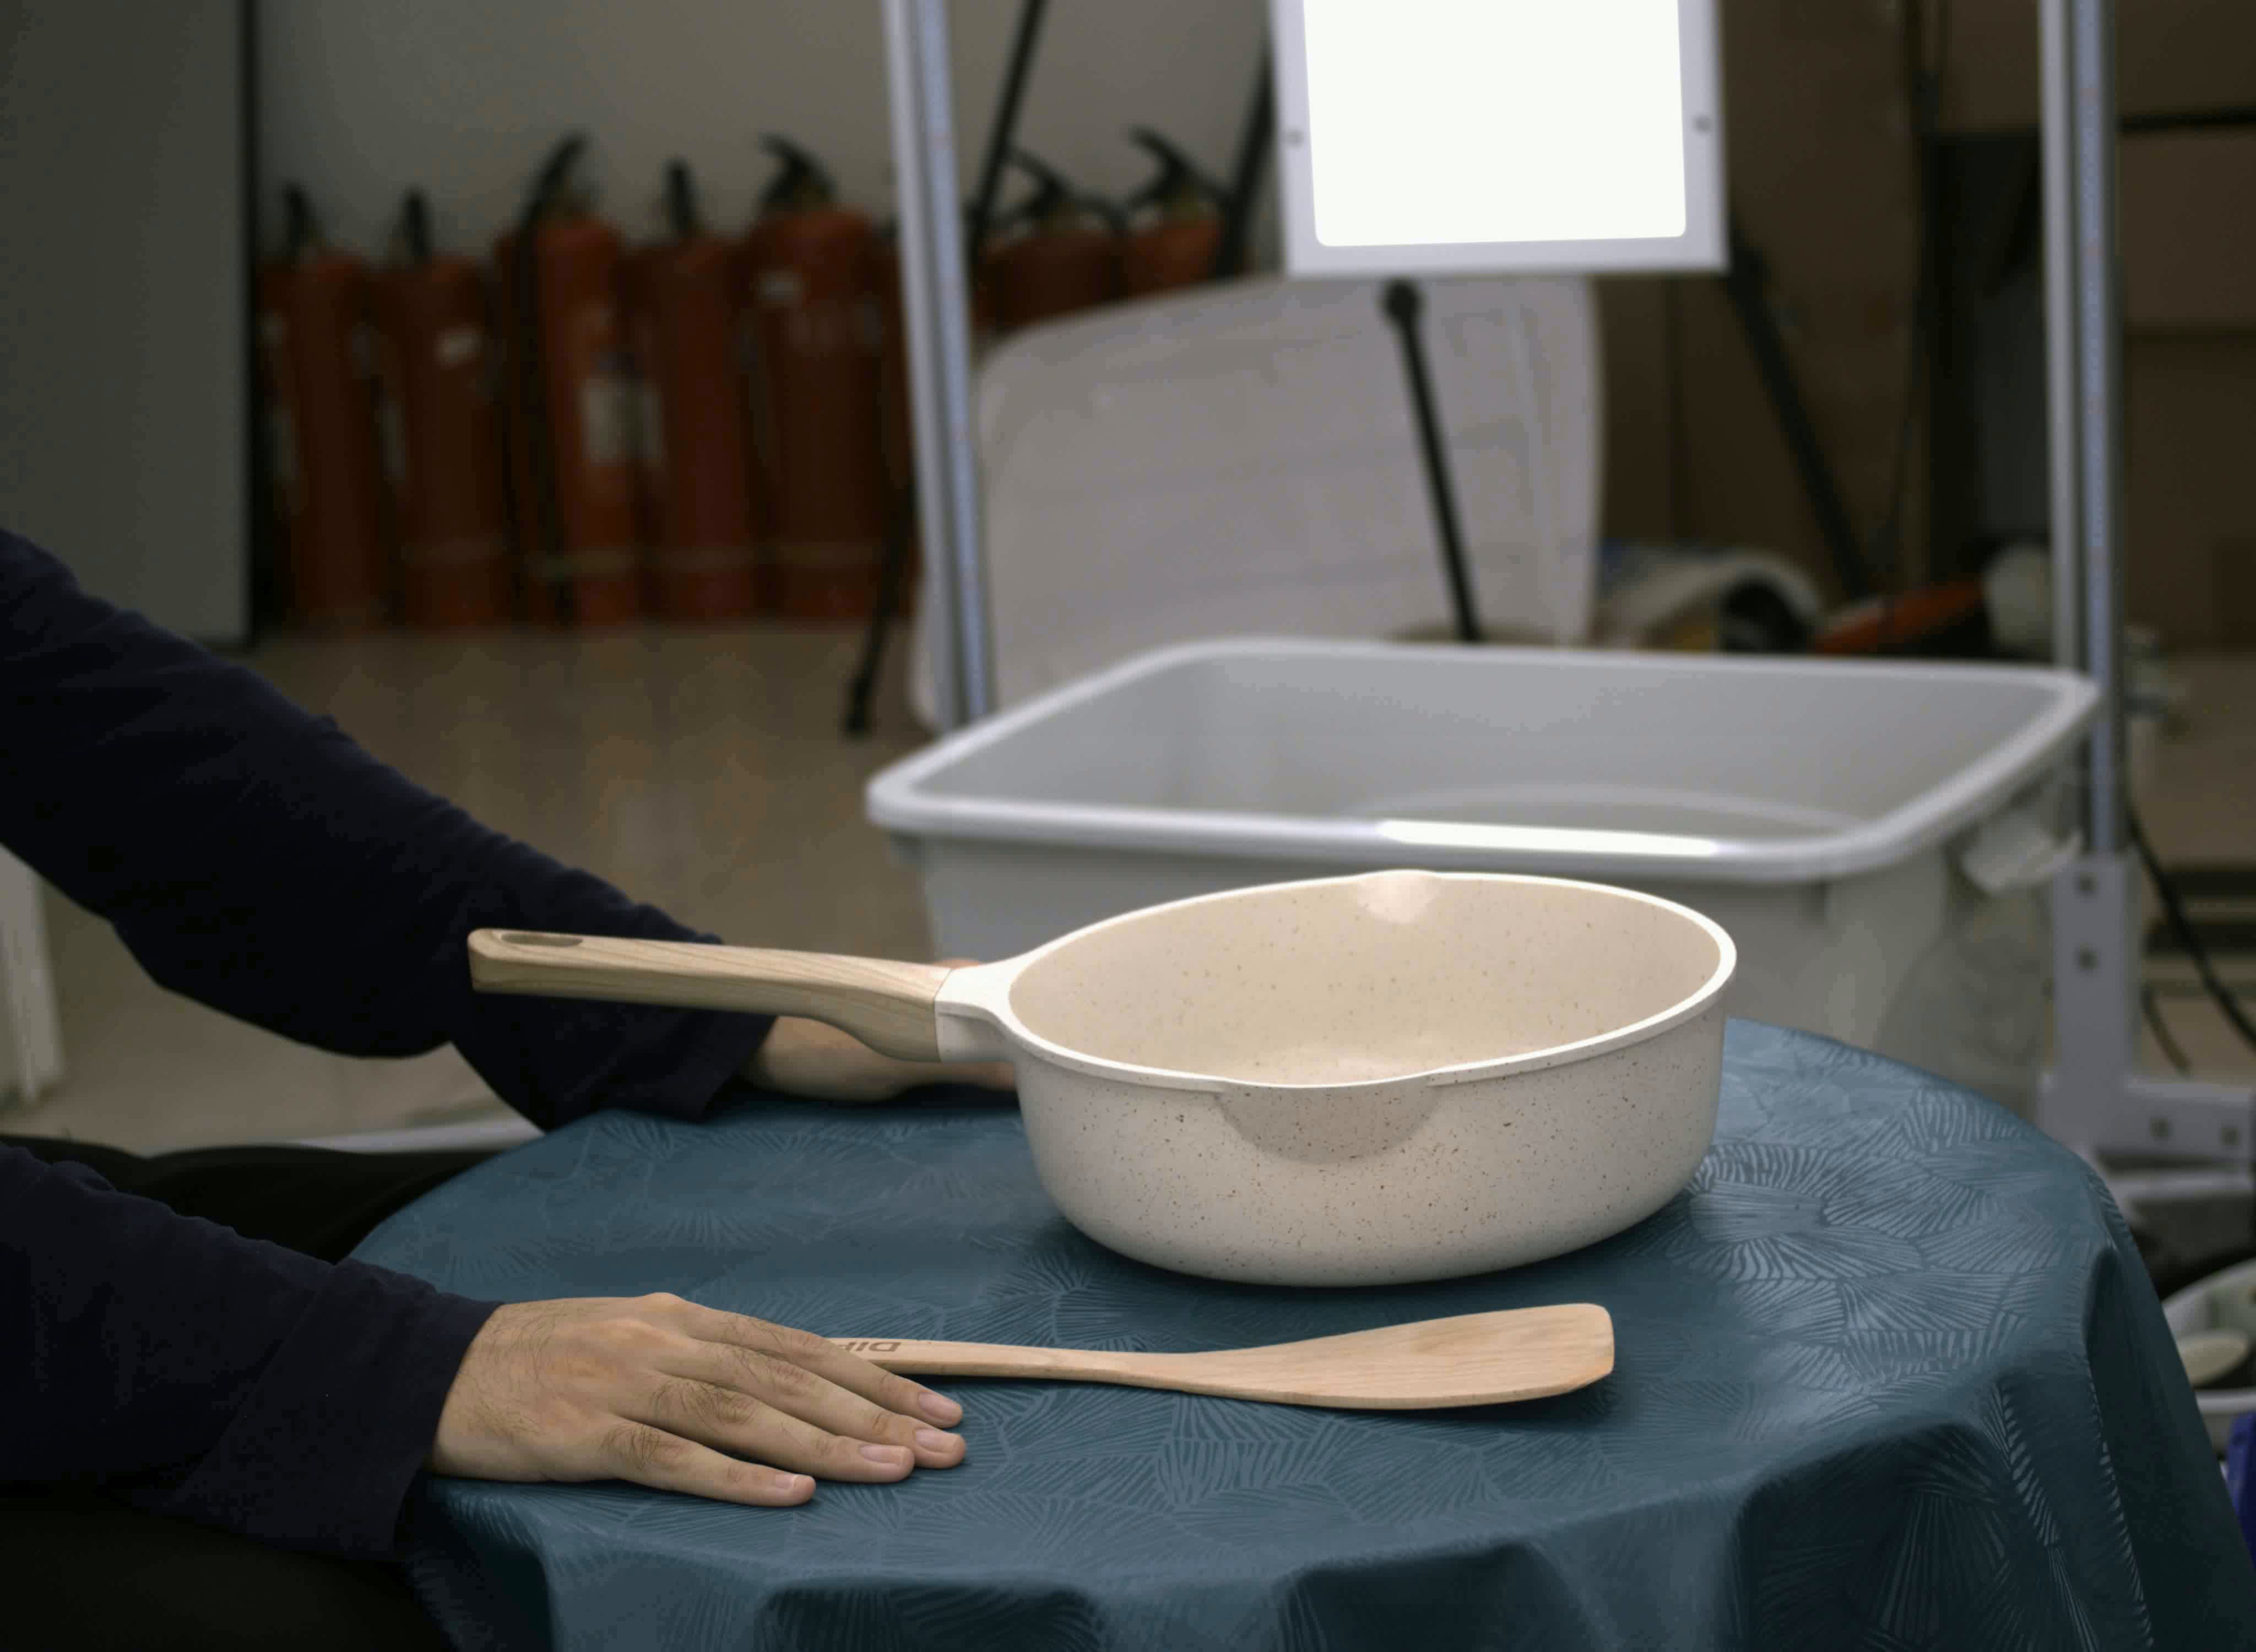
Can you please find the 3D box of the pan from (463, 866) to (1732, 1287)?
[{"bbox_3d":[-0.010,0.084,1.877,0.437,0.102,0.261,-3,15,10],"label":"pan"}]

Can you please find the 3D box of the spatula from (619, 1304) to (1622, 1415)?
[{"bbox_3d":[-0.003,0.166,1.716,0.331,0.016,0.079,-1,15,17],"label":"spatula"}]
